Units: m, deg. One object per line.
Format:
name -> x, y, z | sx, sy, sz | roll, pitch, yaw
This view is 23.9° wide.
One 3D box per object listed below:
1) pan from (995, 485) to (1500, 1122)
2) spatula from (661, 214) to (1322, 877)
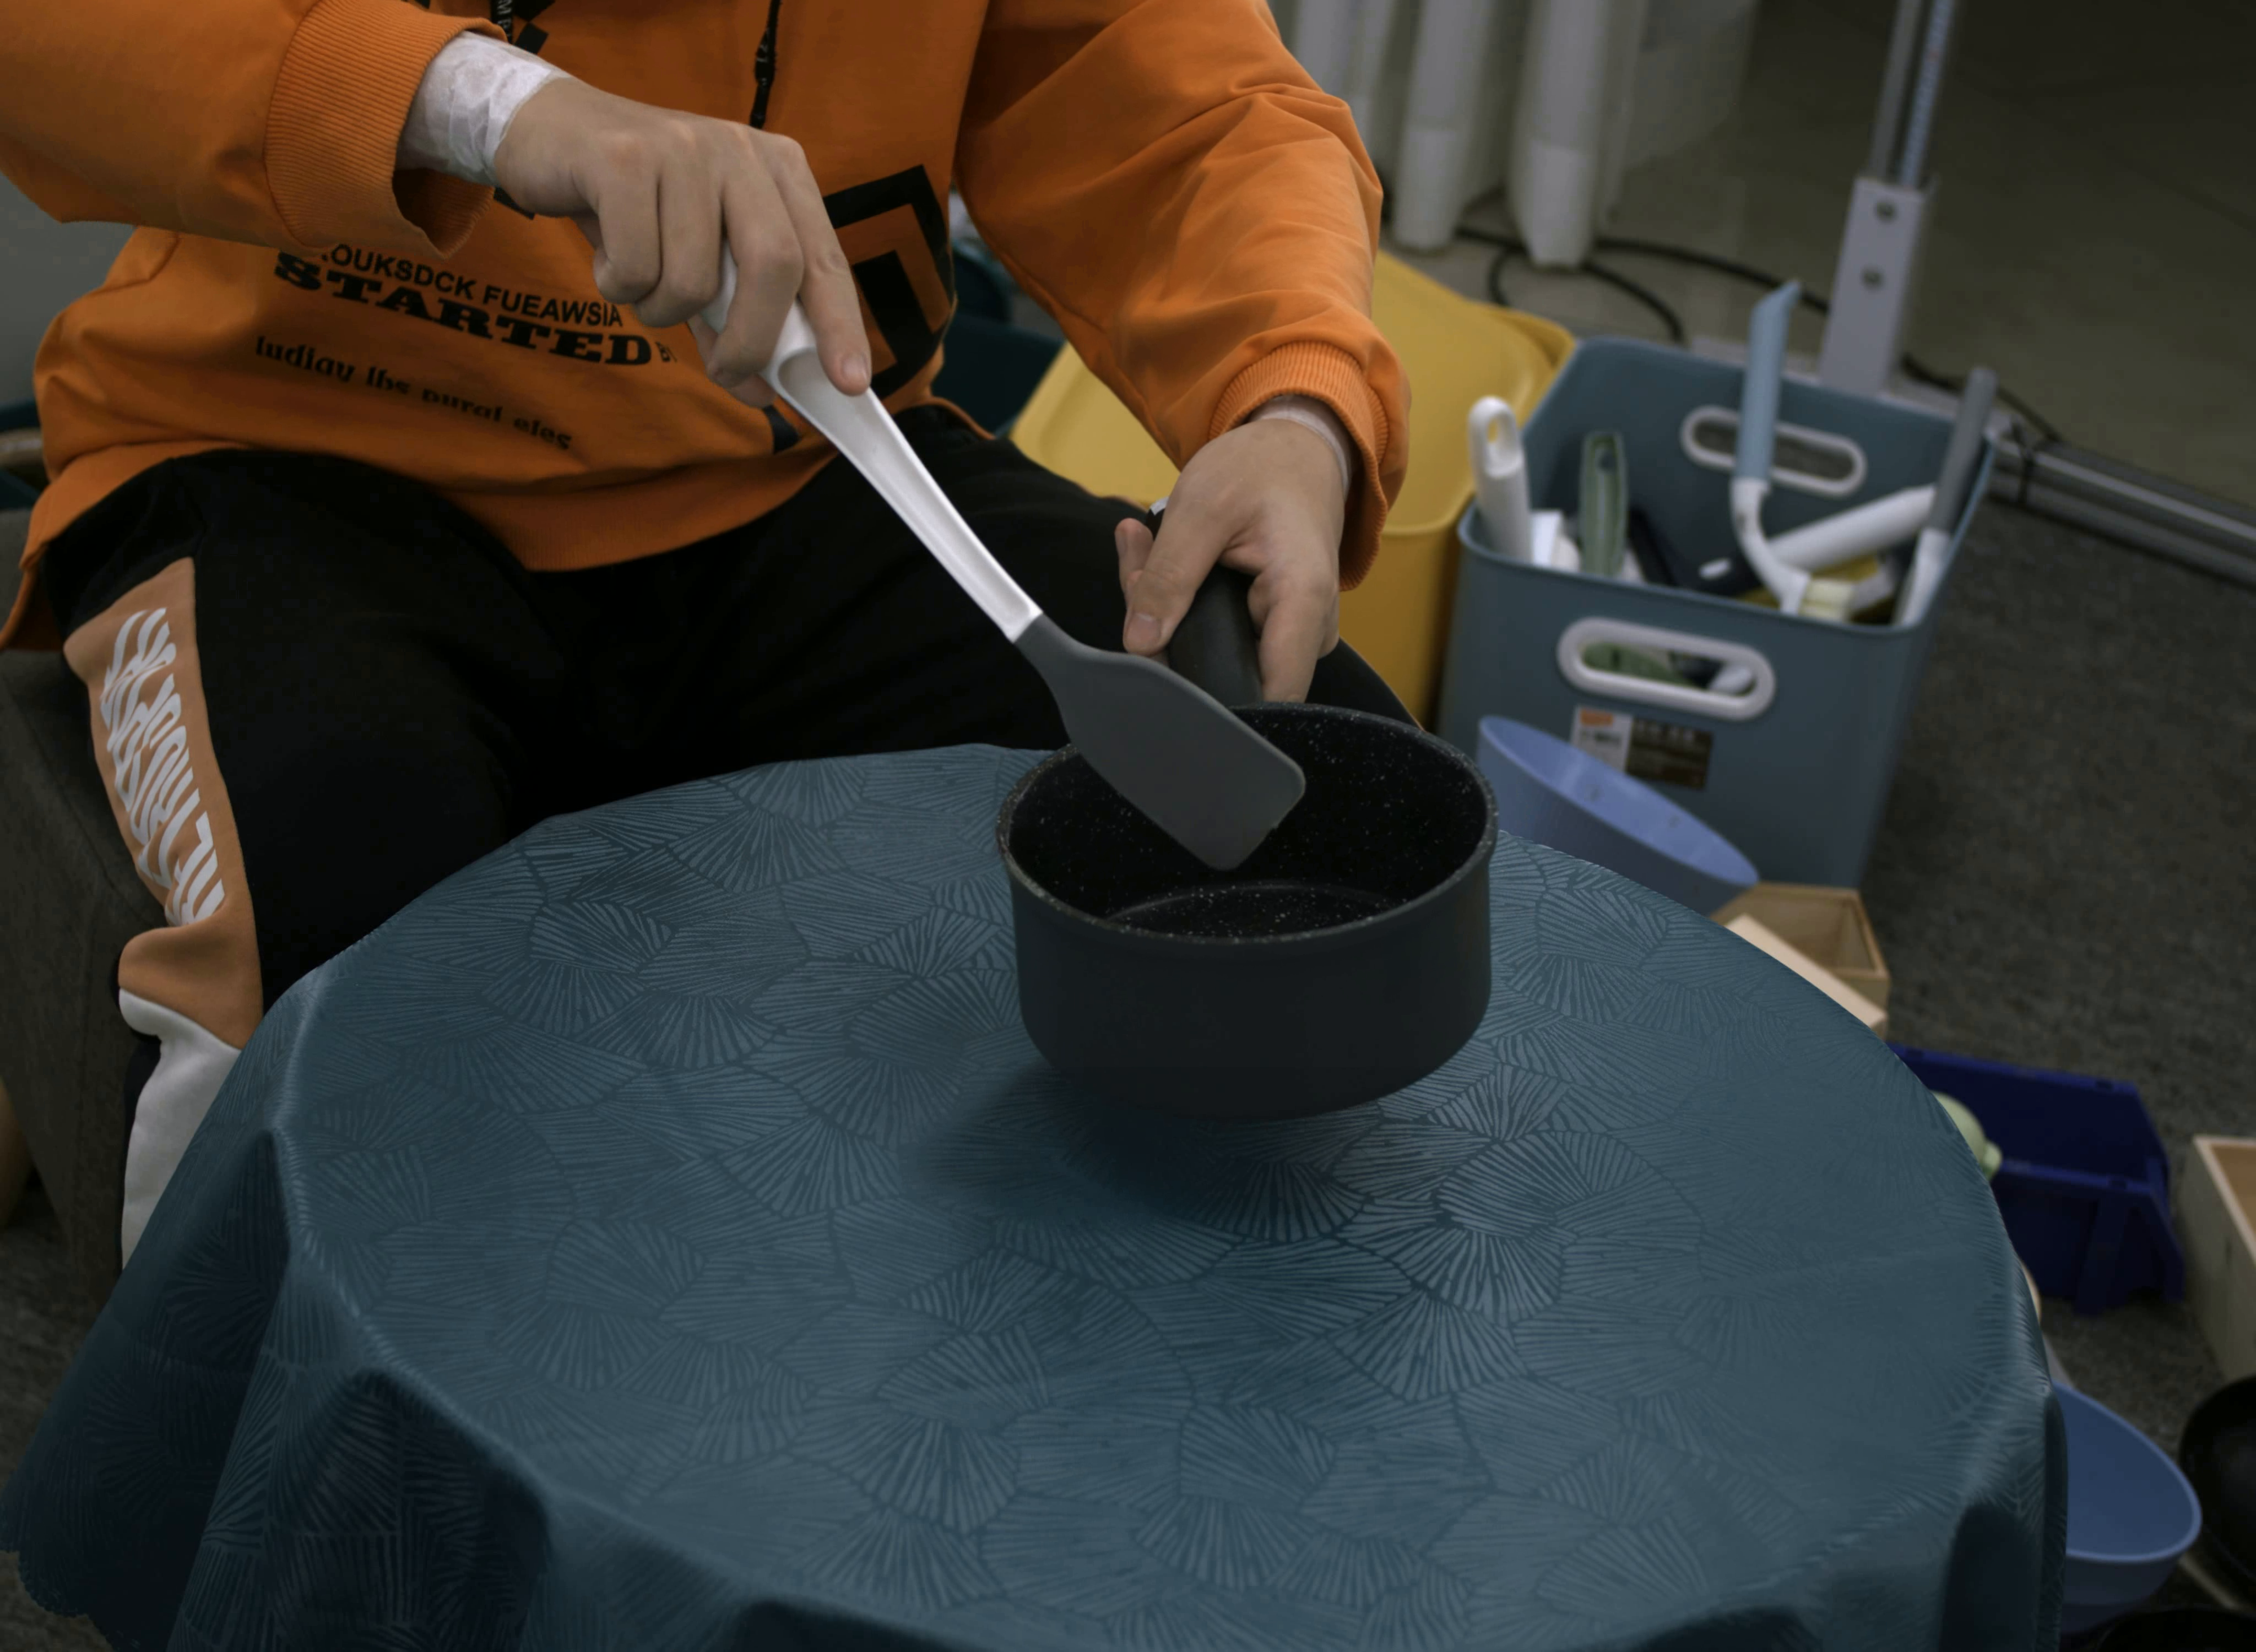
pan -> 0.039, -0.011, 1.888 | 0.171, 0.086, 0.331 | -3, 30, 0
spatula -> -0.050, -0.096, 1.801 | 0.288, 0.058, 0.032 | 46, 26, 8
